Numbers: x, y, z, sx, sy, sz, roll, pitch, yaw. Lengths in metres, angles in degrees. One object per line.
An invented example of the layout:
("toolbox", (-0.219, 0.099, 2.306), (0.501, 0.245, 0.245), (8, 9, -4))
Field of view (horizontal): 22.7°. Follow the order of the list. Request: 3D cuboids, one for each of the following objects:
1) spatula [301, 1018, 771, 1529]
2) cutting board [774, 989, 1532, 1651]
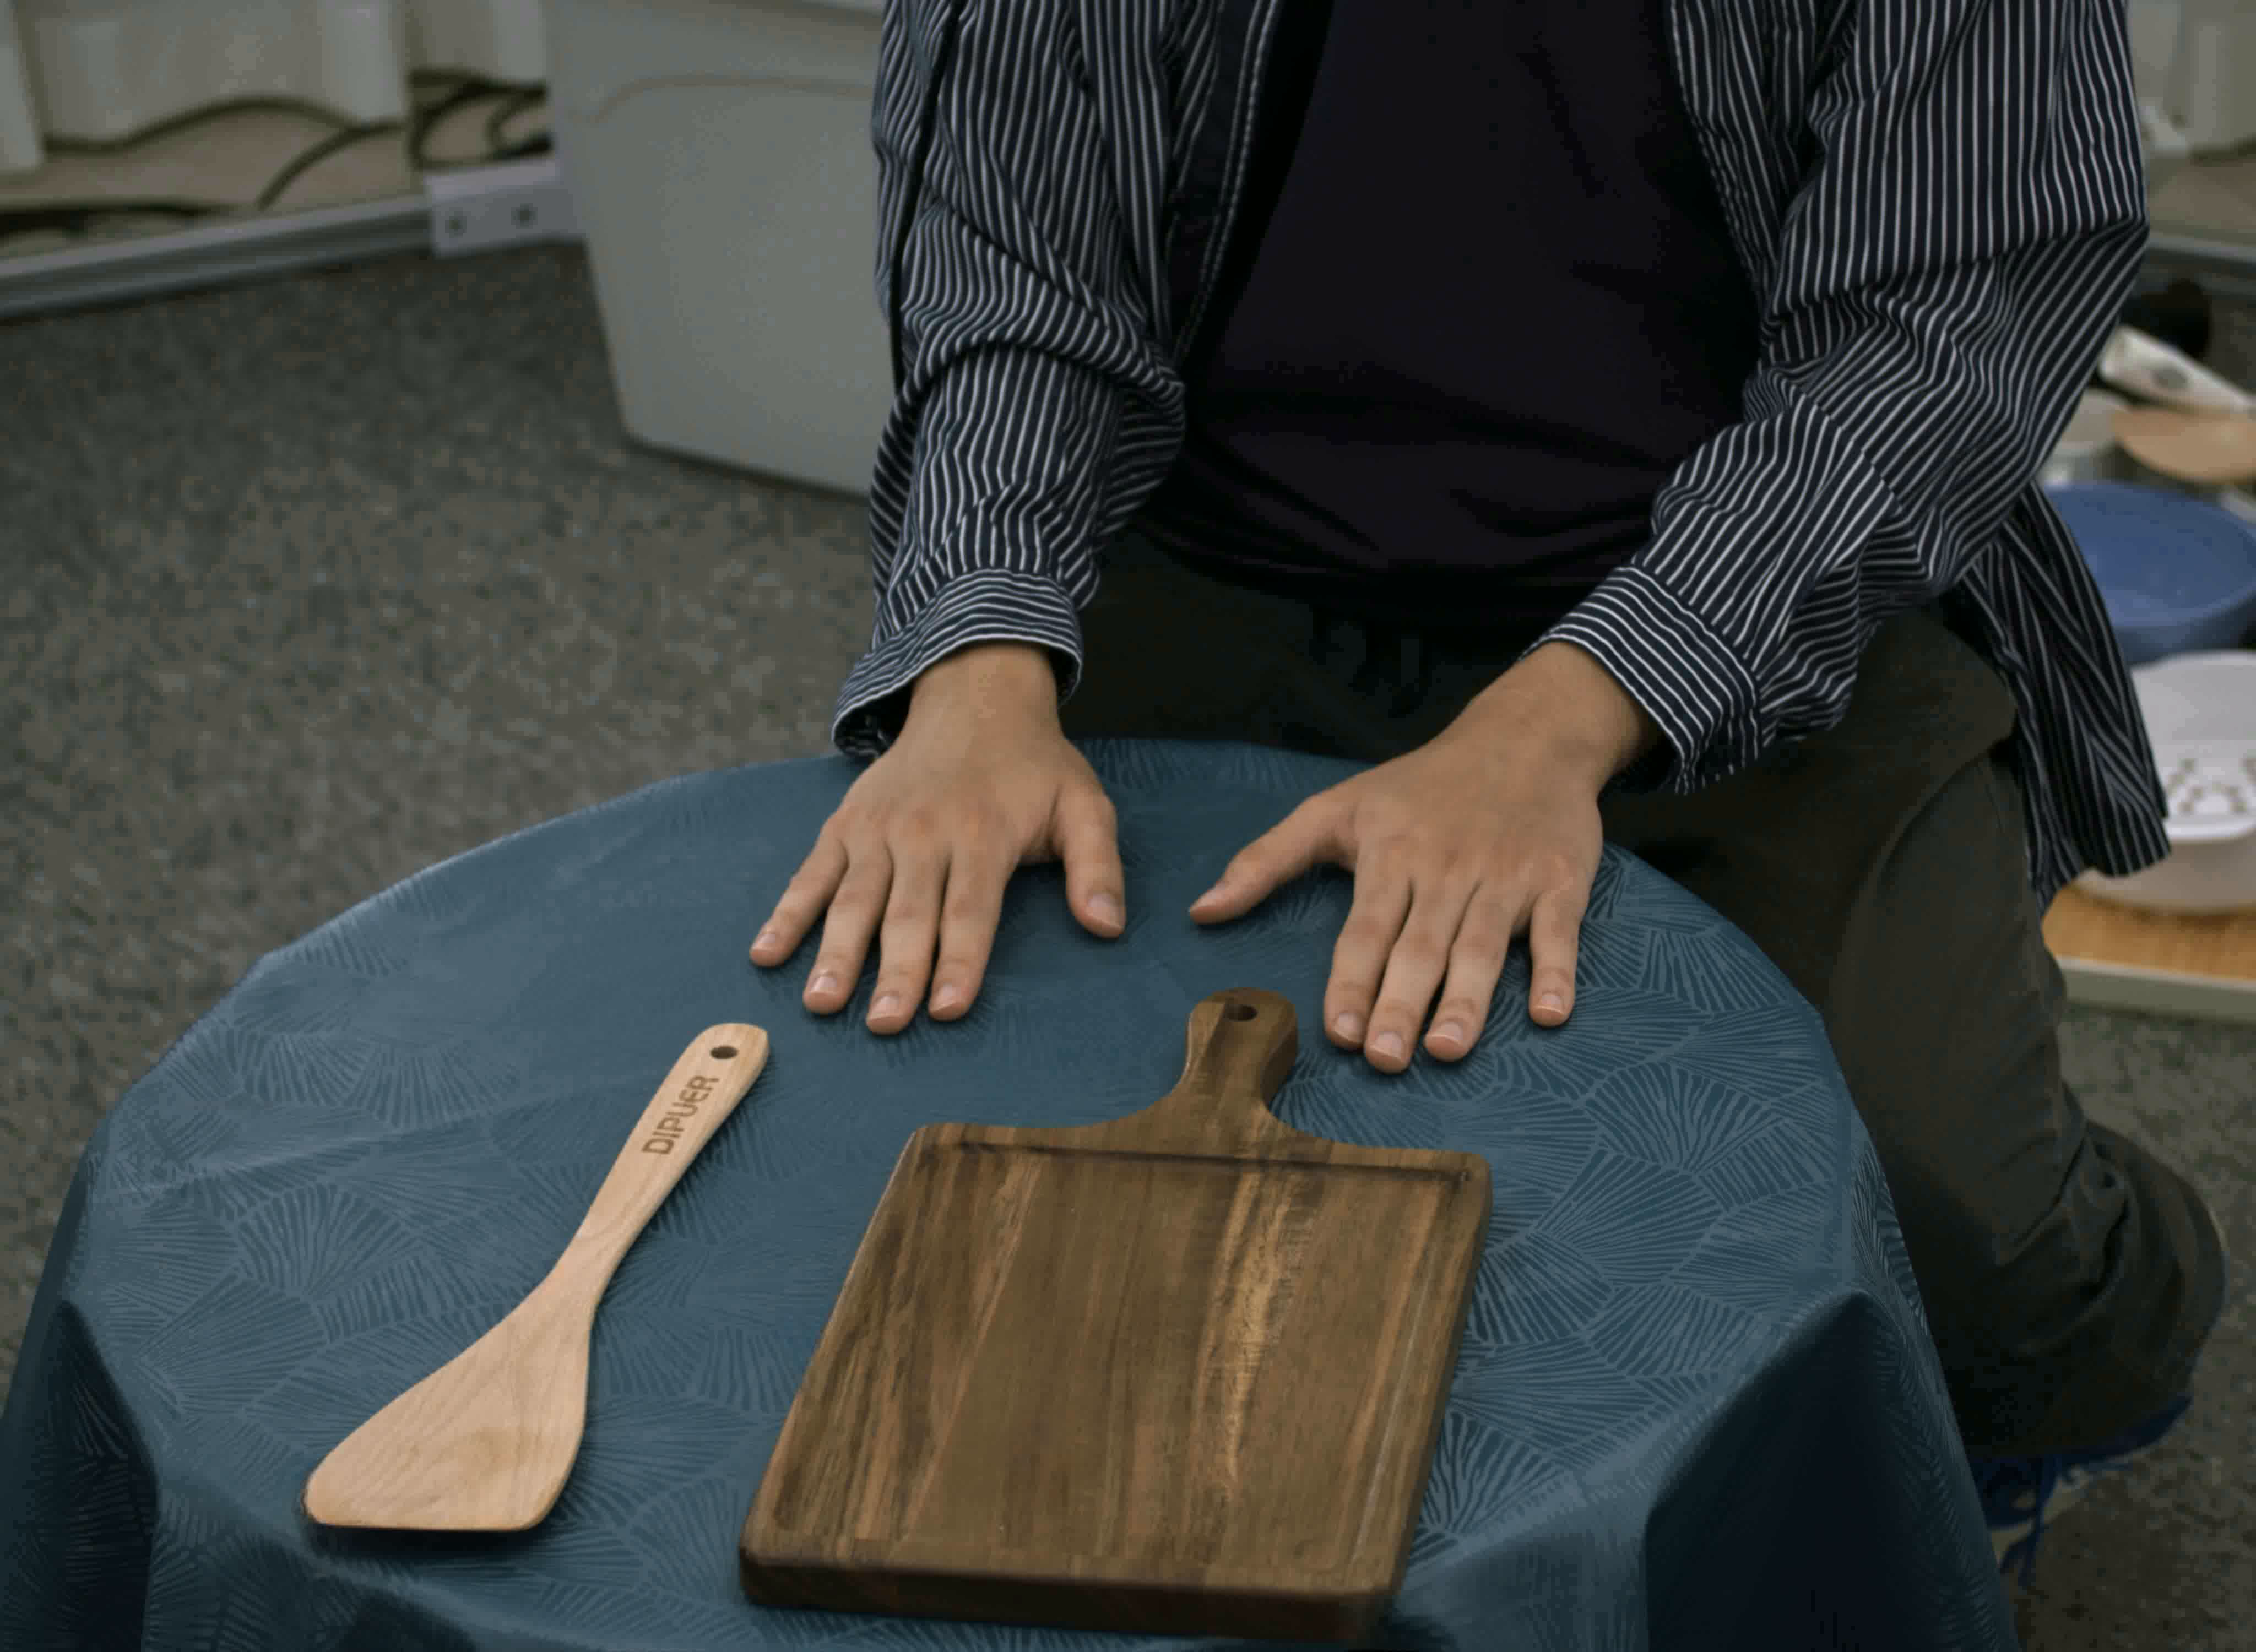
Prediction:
("spatula", (-0.173, 0.141, 1.817), (0.079, 0.016, 0.333), (5, 28, 13))
("cutting board", (0.022, 0.146, 1.782), (0.200, 0.023, 0.358), (3, 28, 11))
